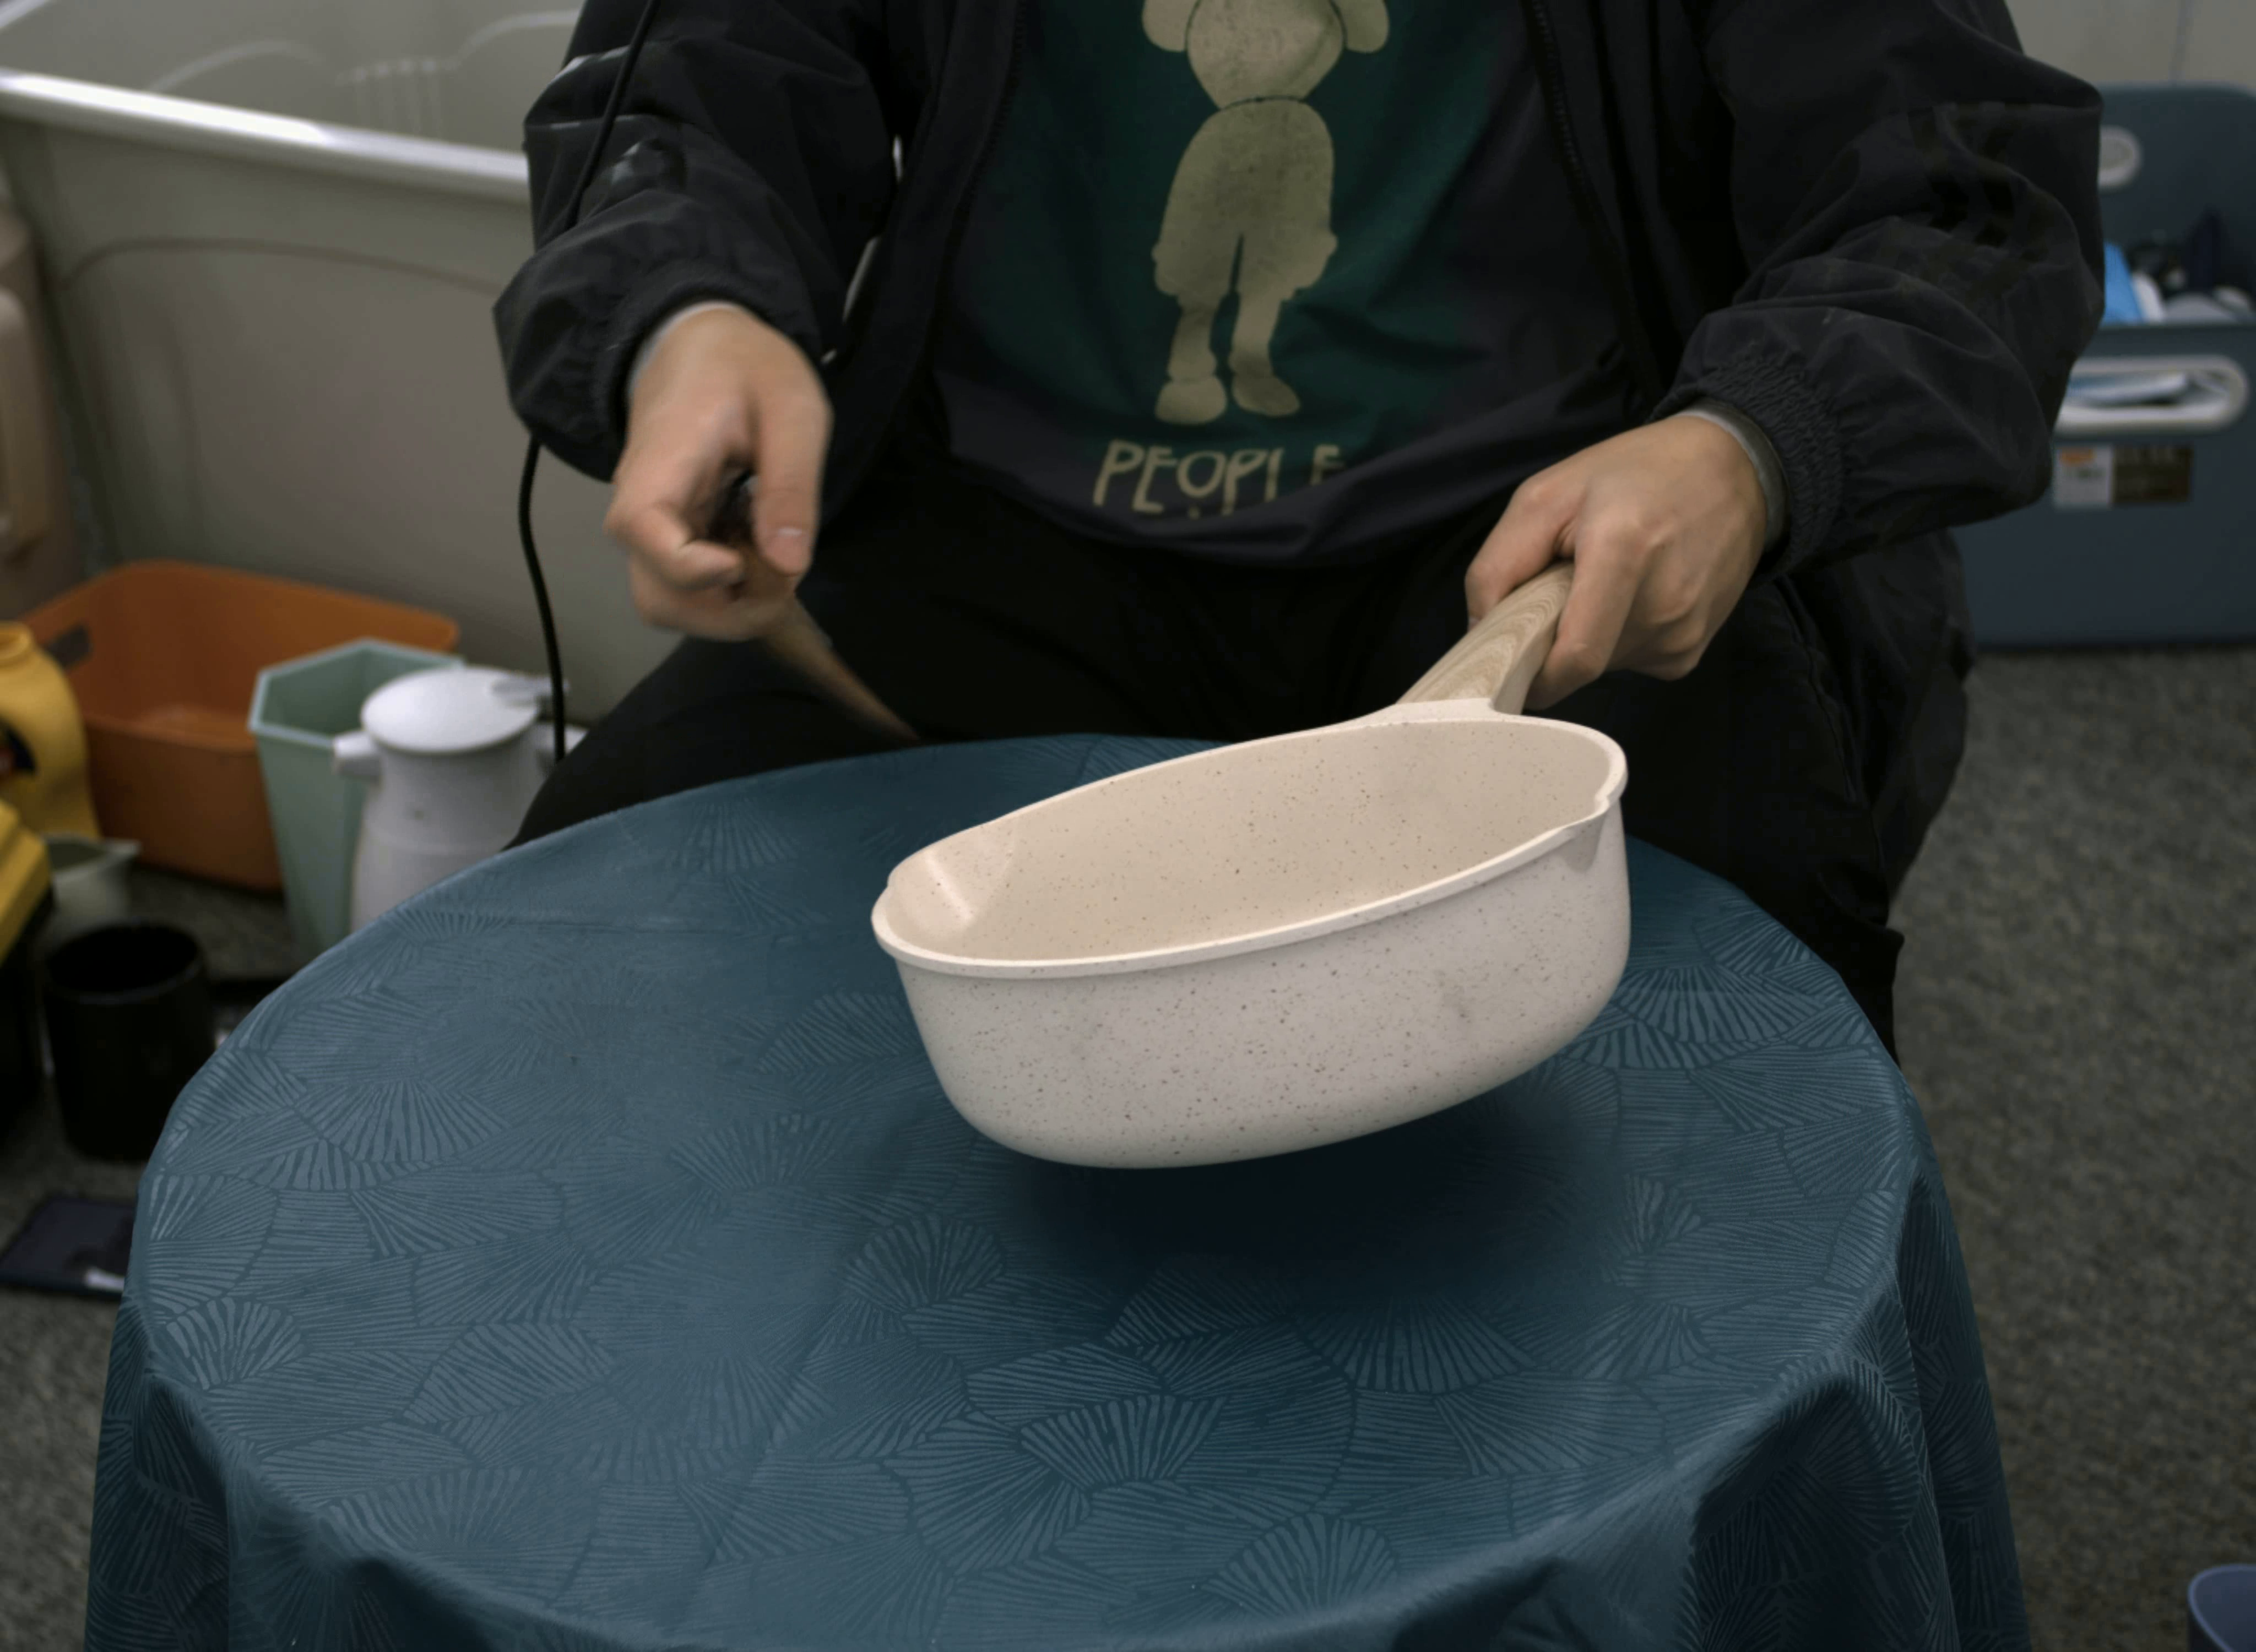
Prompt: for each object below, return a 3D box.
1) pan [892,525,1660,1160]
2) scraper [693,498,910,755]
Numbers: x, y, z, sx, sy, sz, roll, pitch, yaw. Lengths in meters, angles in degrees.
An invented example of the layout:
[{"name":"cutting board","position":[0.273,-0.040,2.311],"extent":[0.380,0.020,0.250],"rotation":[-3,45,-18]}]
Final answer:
[{"name":"pan","position":[0.095,0.003,1.908],"extent":[0.260,0.102,0.441],"rotation":[-6,15,31]},{"name":"scraper","position":[-0.123,-0.074,1.921],"extent":[0.075,0.011,0.213],"rotation":[34,10,-22]}]
